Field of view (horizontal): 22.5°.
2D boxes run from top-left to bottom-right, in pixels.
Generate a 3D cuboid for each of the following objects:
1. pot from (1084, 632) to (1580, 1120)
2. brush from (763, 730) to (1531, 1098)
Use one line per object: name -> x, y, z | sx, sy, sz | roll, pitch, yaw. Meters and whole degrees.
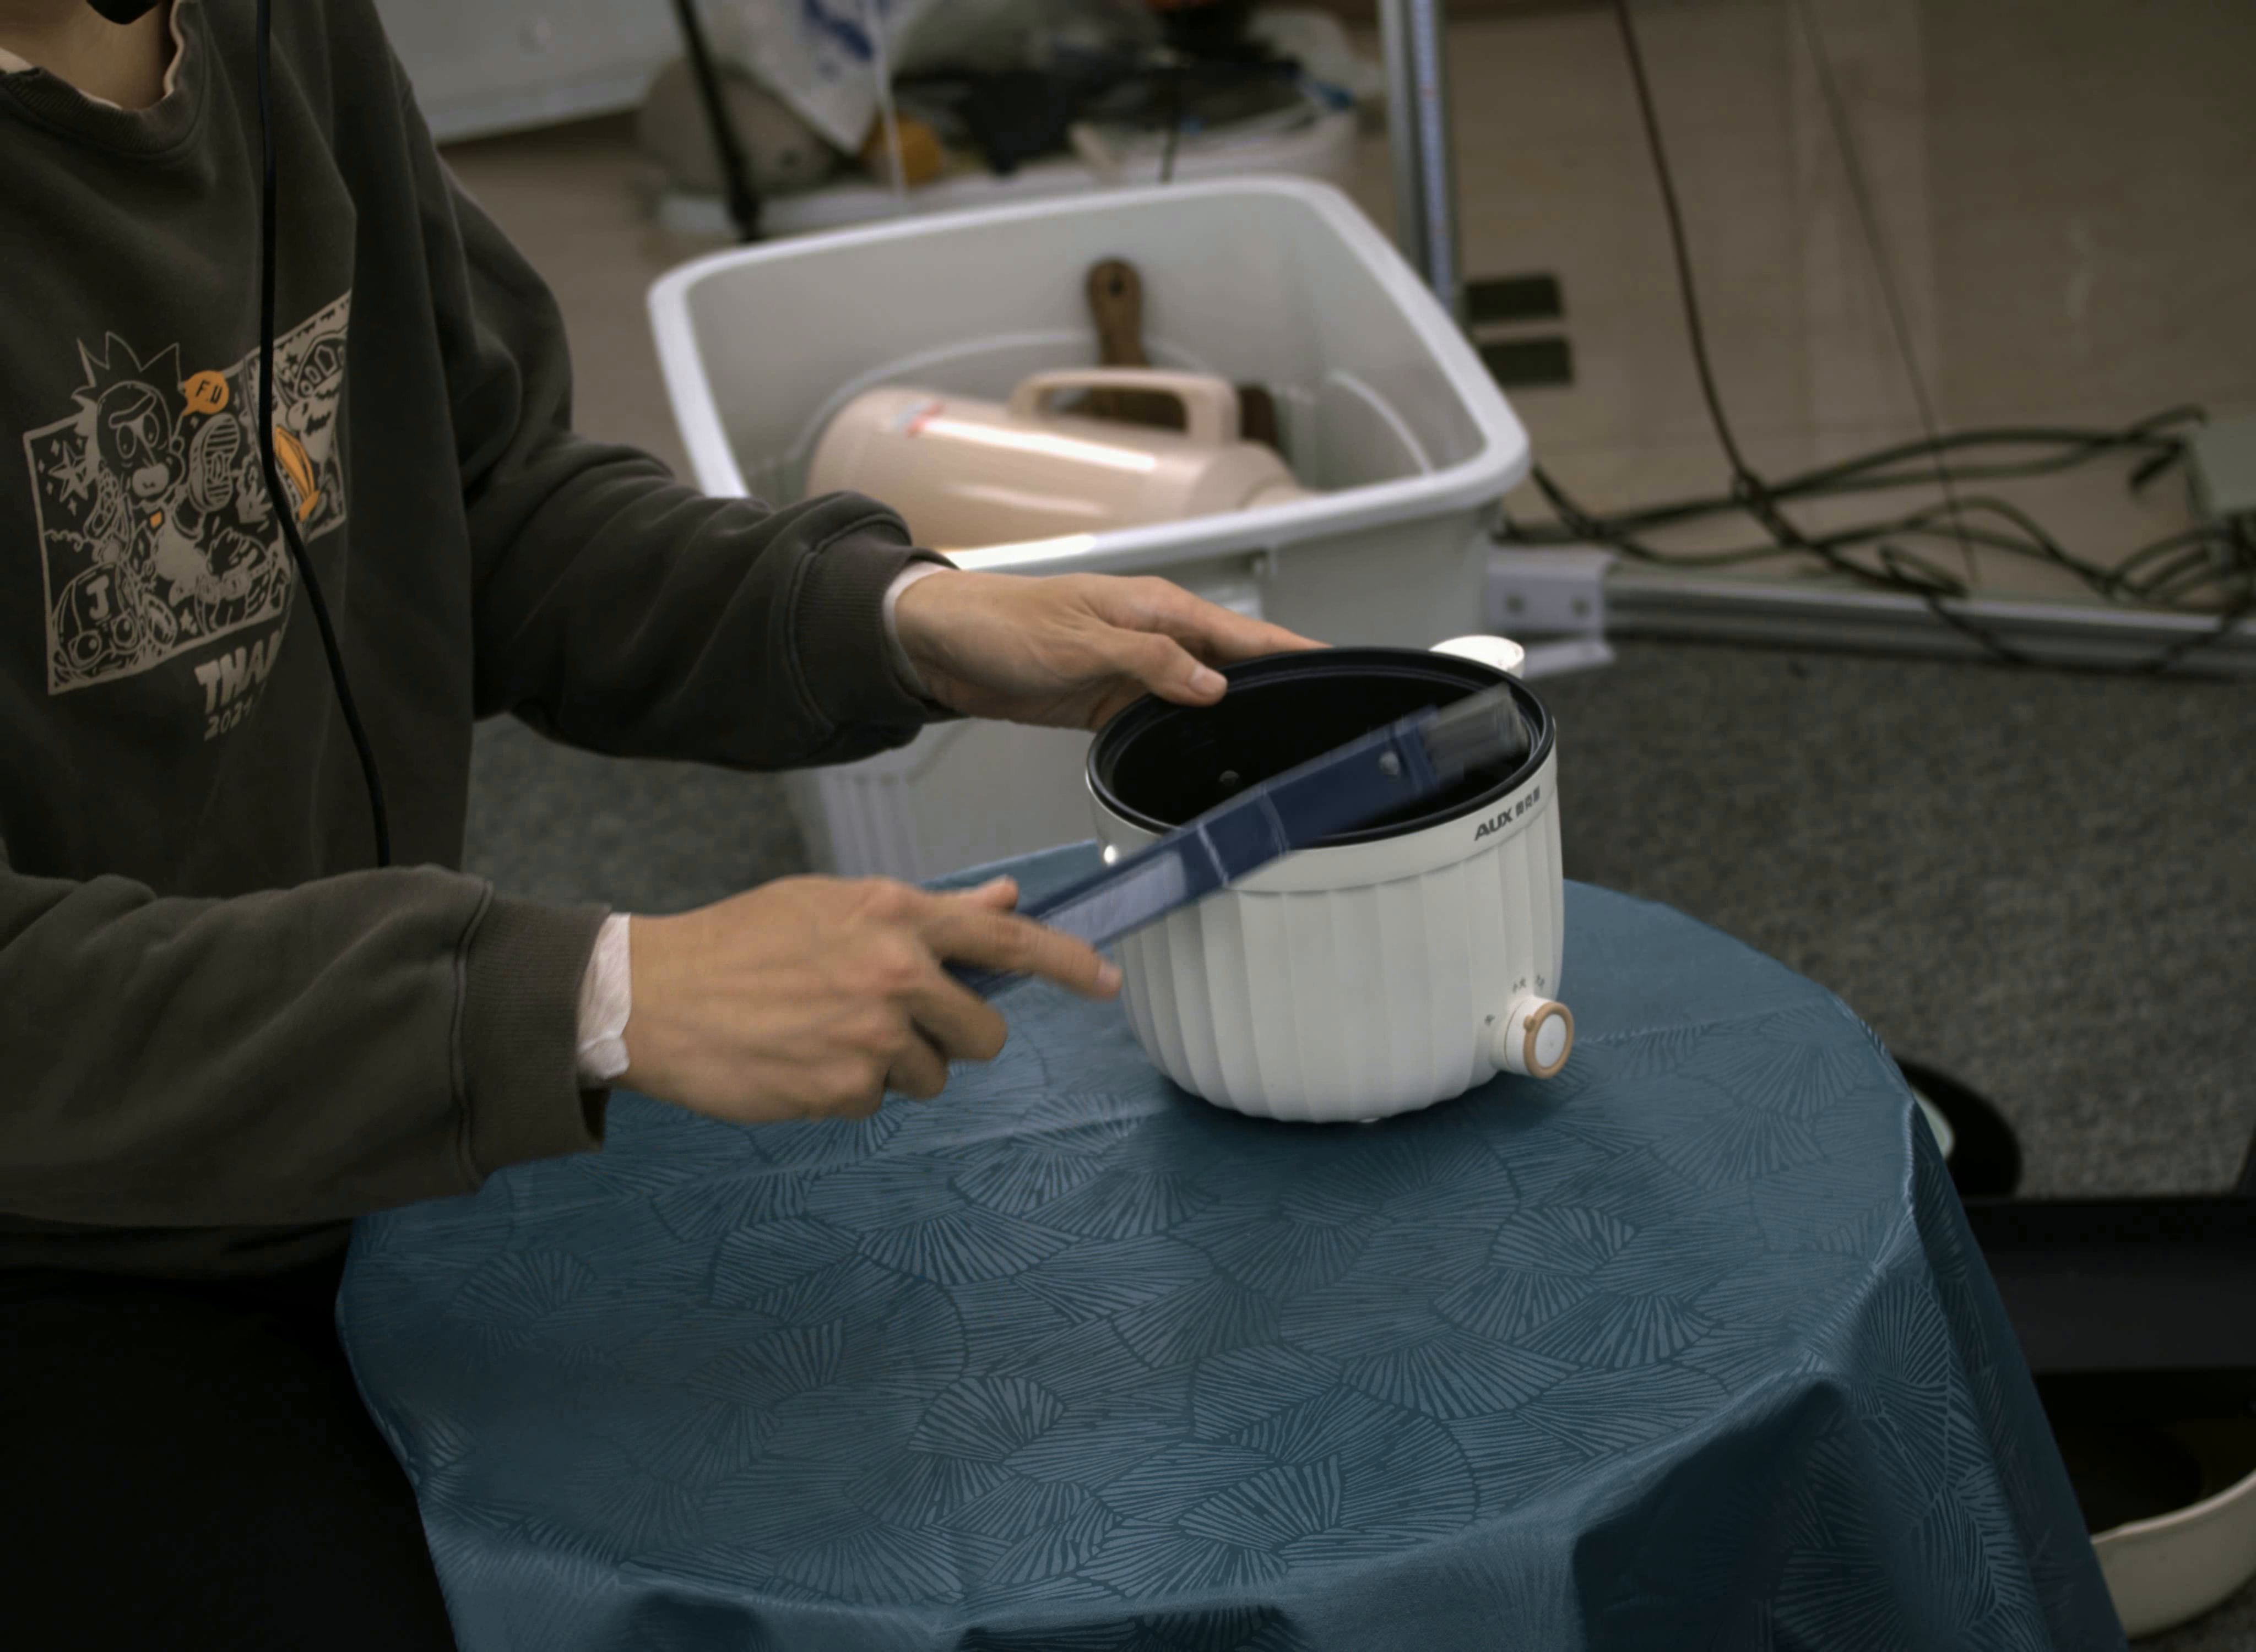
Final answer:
pot -> 0.086, 0.026, 2.199 | 0.189, 0.145, 0.238 | 11, 31, 39
brush -> 0.006, 0.026, 1.971 | 0.271, 0.033, 0.096 | -24, 6, -22
